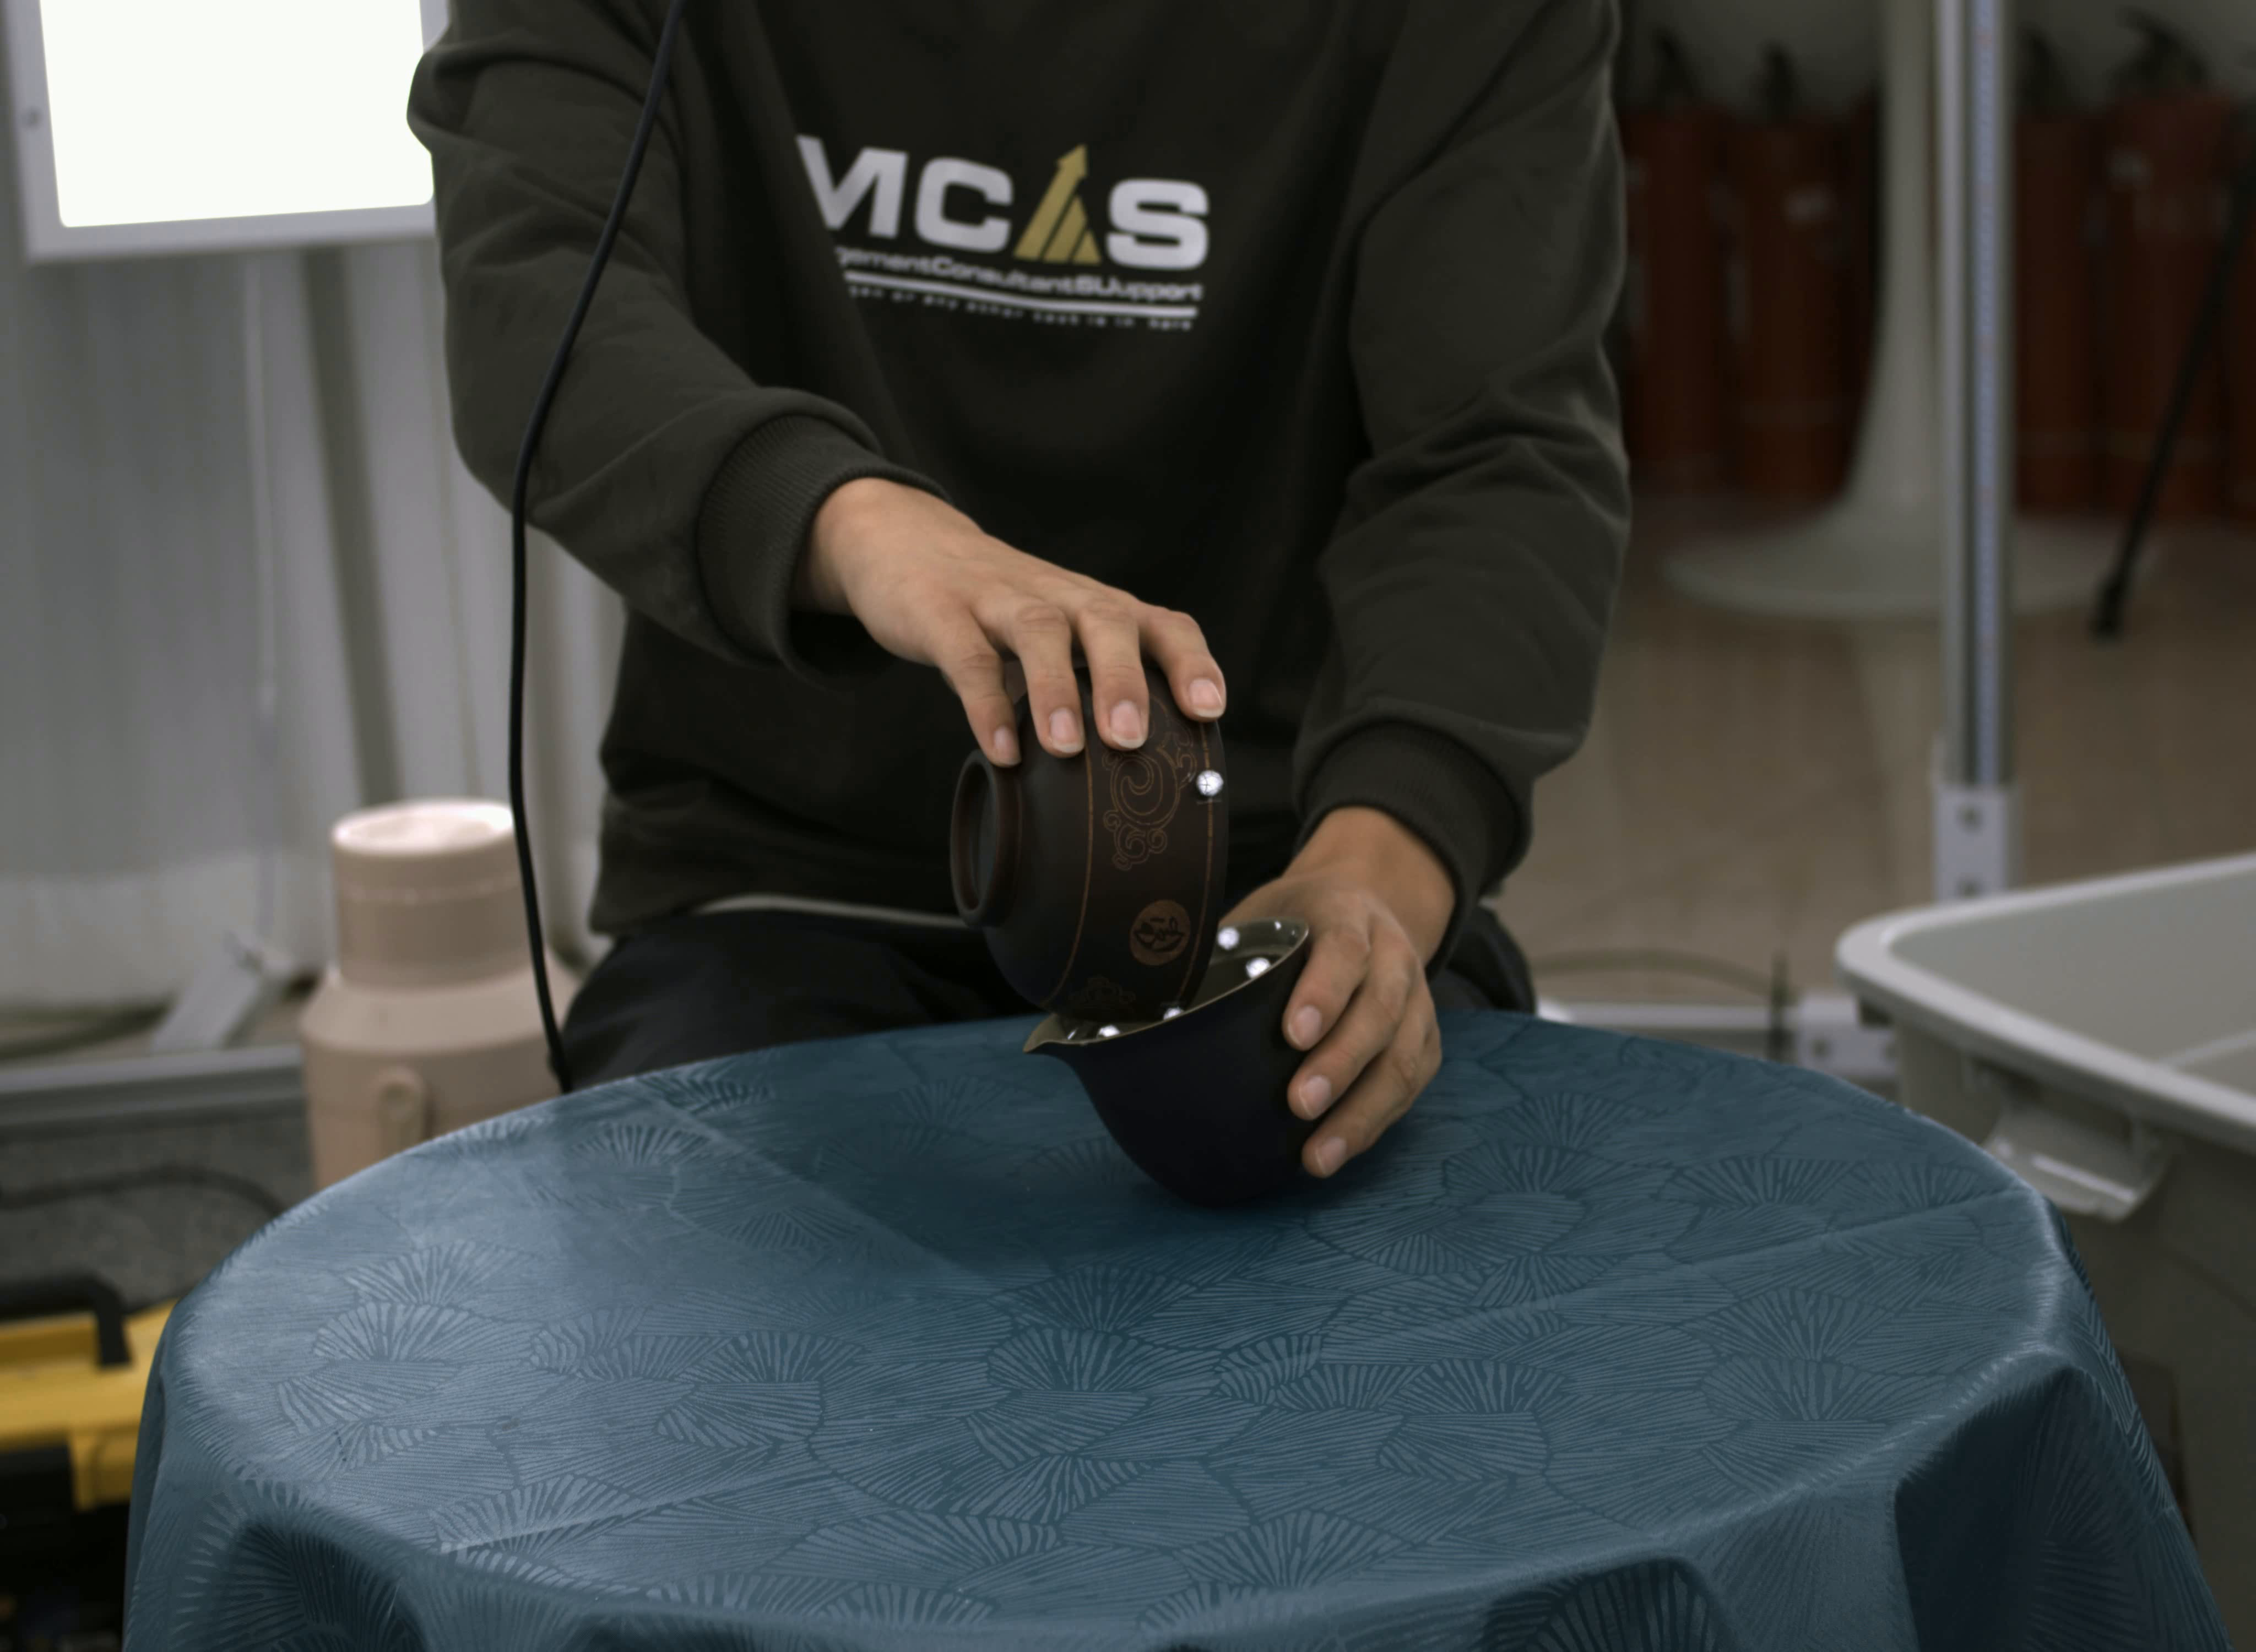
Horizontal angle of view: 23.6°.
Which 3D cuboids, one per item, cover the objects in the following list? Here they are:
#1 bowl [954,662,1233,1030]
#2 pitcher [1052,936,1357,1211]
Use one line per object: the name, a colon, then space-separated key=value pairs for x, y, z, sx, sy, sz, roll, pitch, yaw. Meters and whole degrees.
bowl: x=-0.016 y=0.006 z=1.735 sx=0.068 sy=0.119 sz=0.119 roll=1 pitch=11 yaw=-17
pitcher: x=0.032 y=0.084 z=1.756 sx=0.095 sy=0.071 sz=0.083 roll=-22 pitch=15 yaw=12
